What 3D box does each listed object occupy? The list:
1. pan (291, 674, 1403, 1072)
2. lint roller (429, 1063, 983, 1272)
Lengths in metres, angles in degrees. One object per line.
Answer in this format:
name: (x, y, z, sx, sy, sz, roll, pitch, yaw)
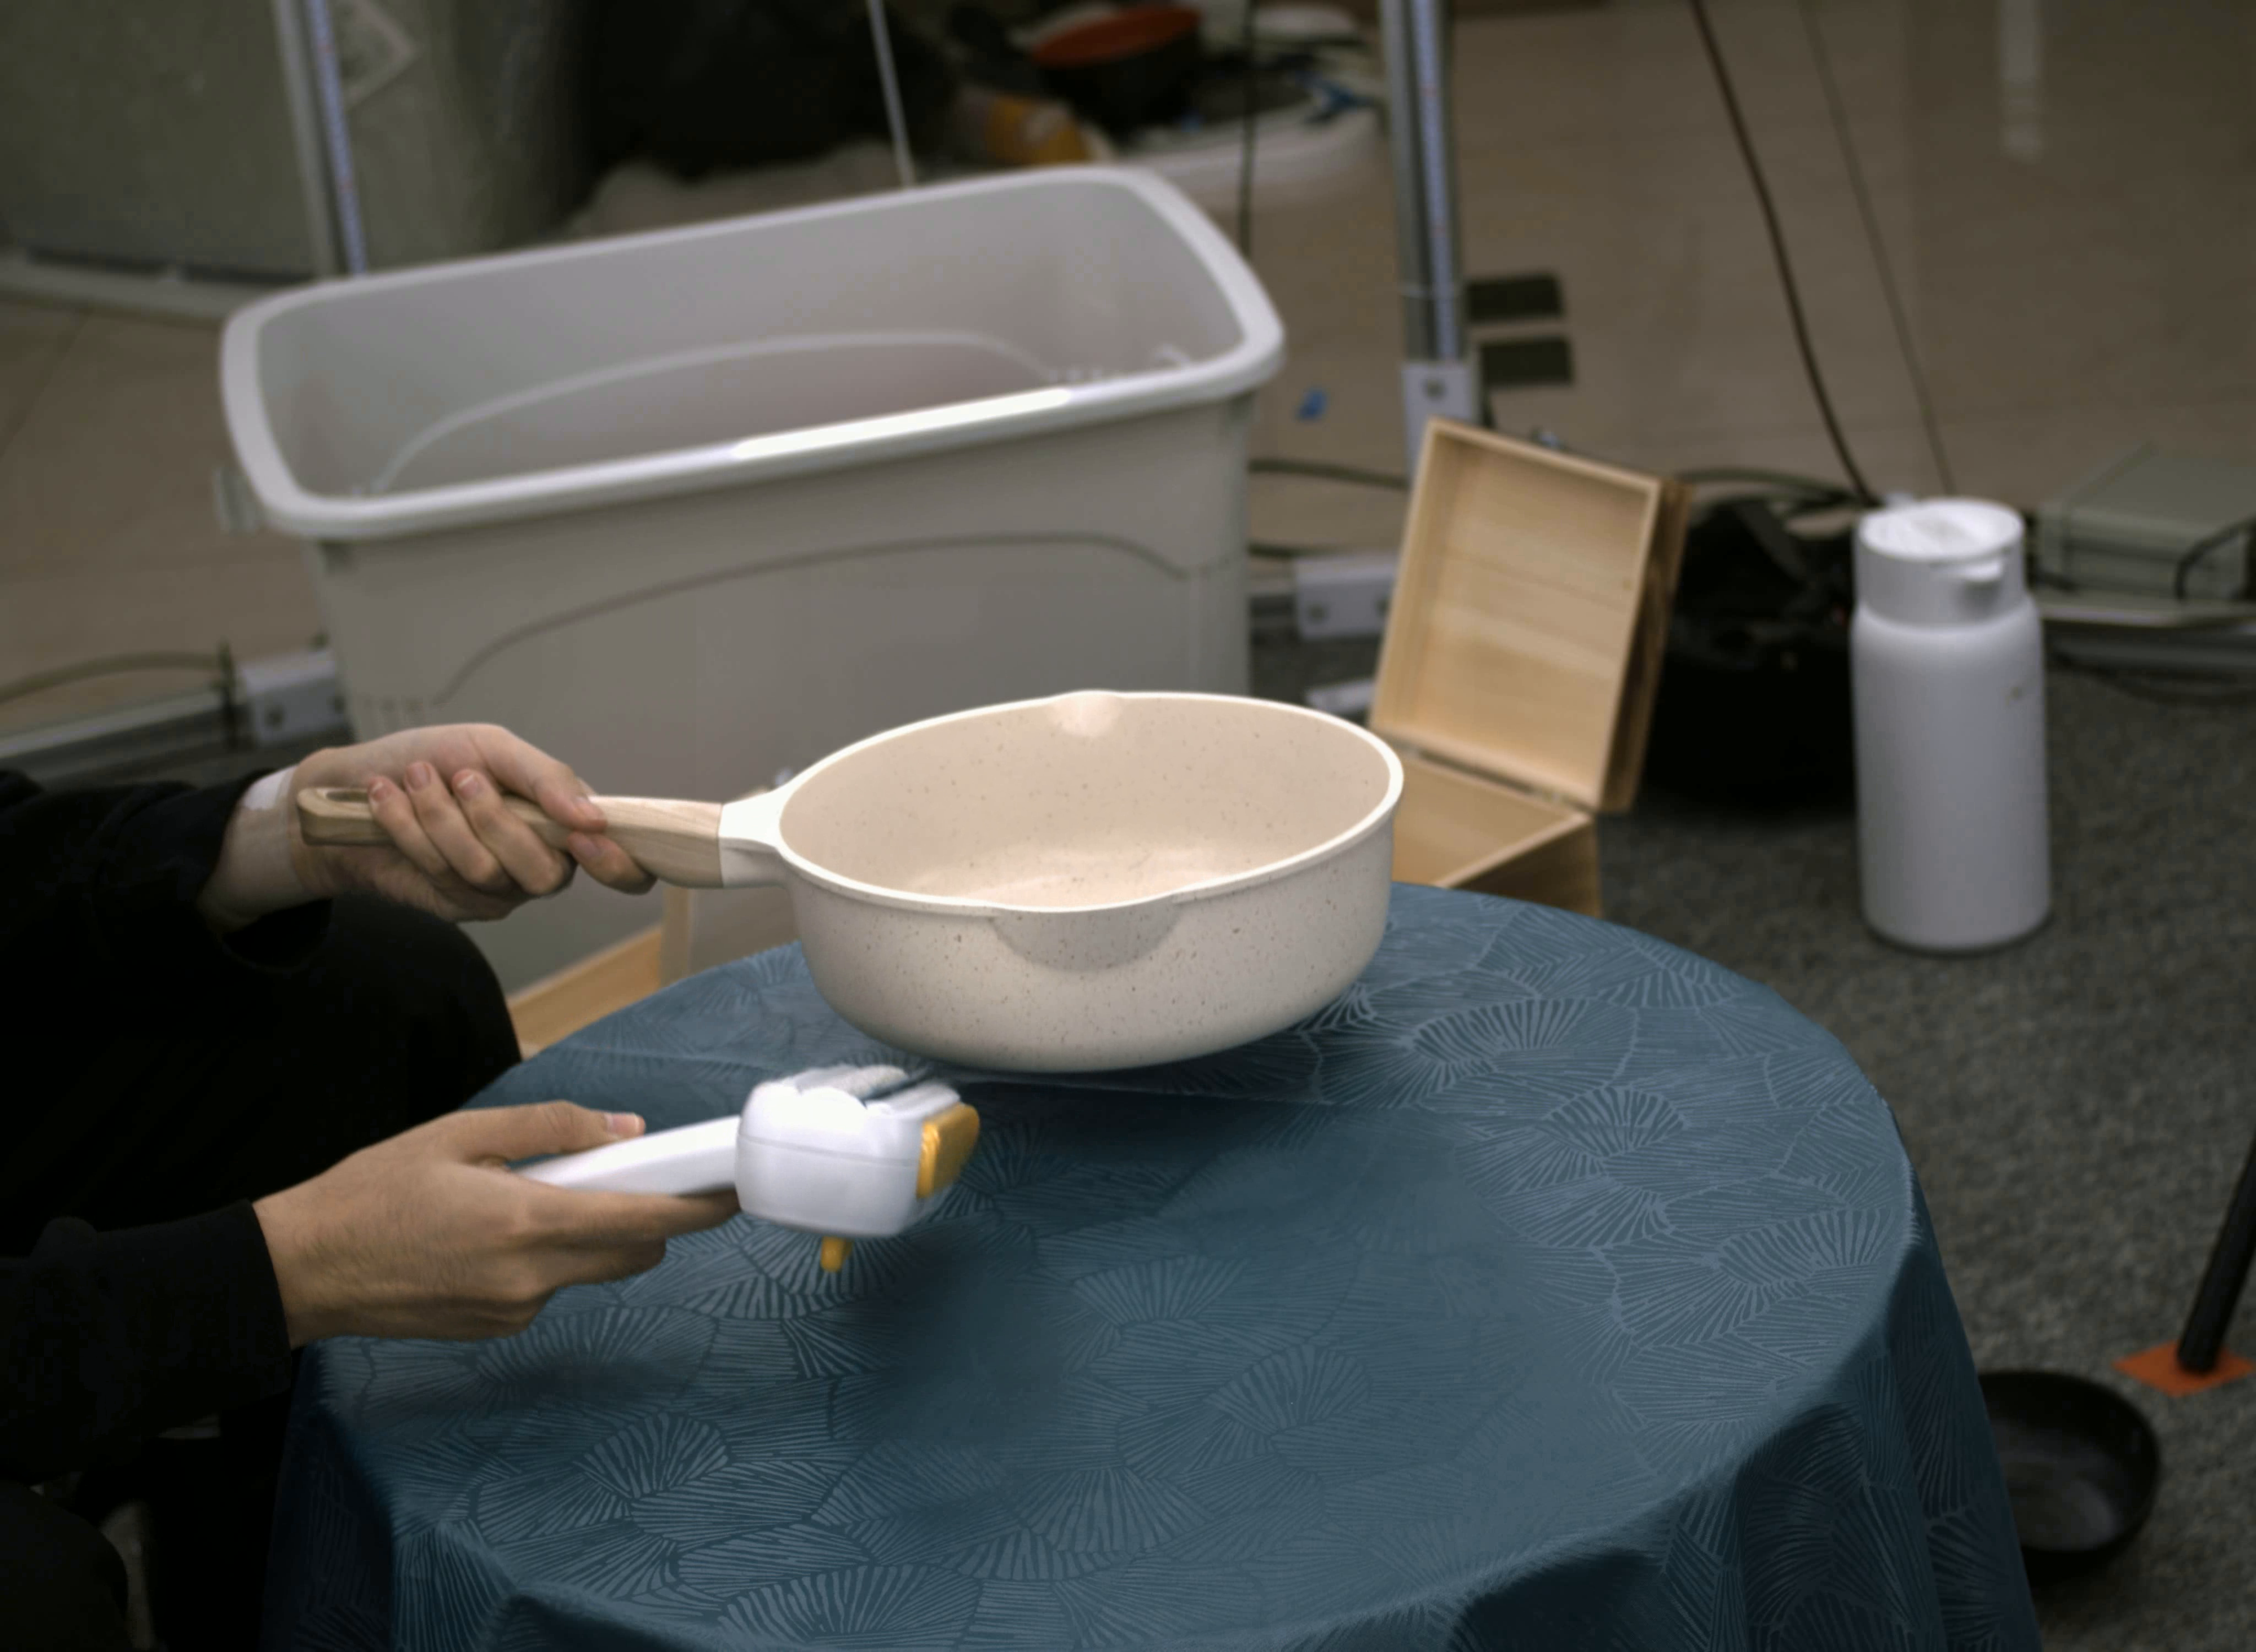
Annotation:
pan: (-0.107, 0.022, 2.231, 0.434, 0.103, 0.260, -5, 22, 1)
lint roller: (-0.158, 0.121, 2.034, 0.192, 0.074, 0.192, 0, 5, 9)
